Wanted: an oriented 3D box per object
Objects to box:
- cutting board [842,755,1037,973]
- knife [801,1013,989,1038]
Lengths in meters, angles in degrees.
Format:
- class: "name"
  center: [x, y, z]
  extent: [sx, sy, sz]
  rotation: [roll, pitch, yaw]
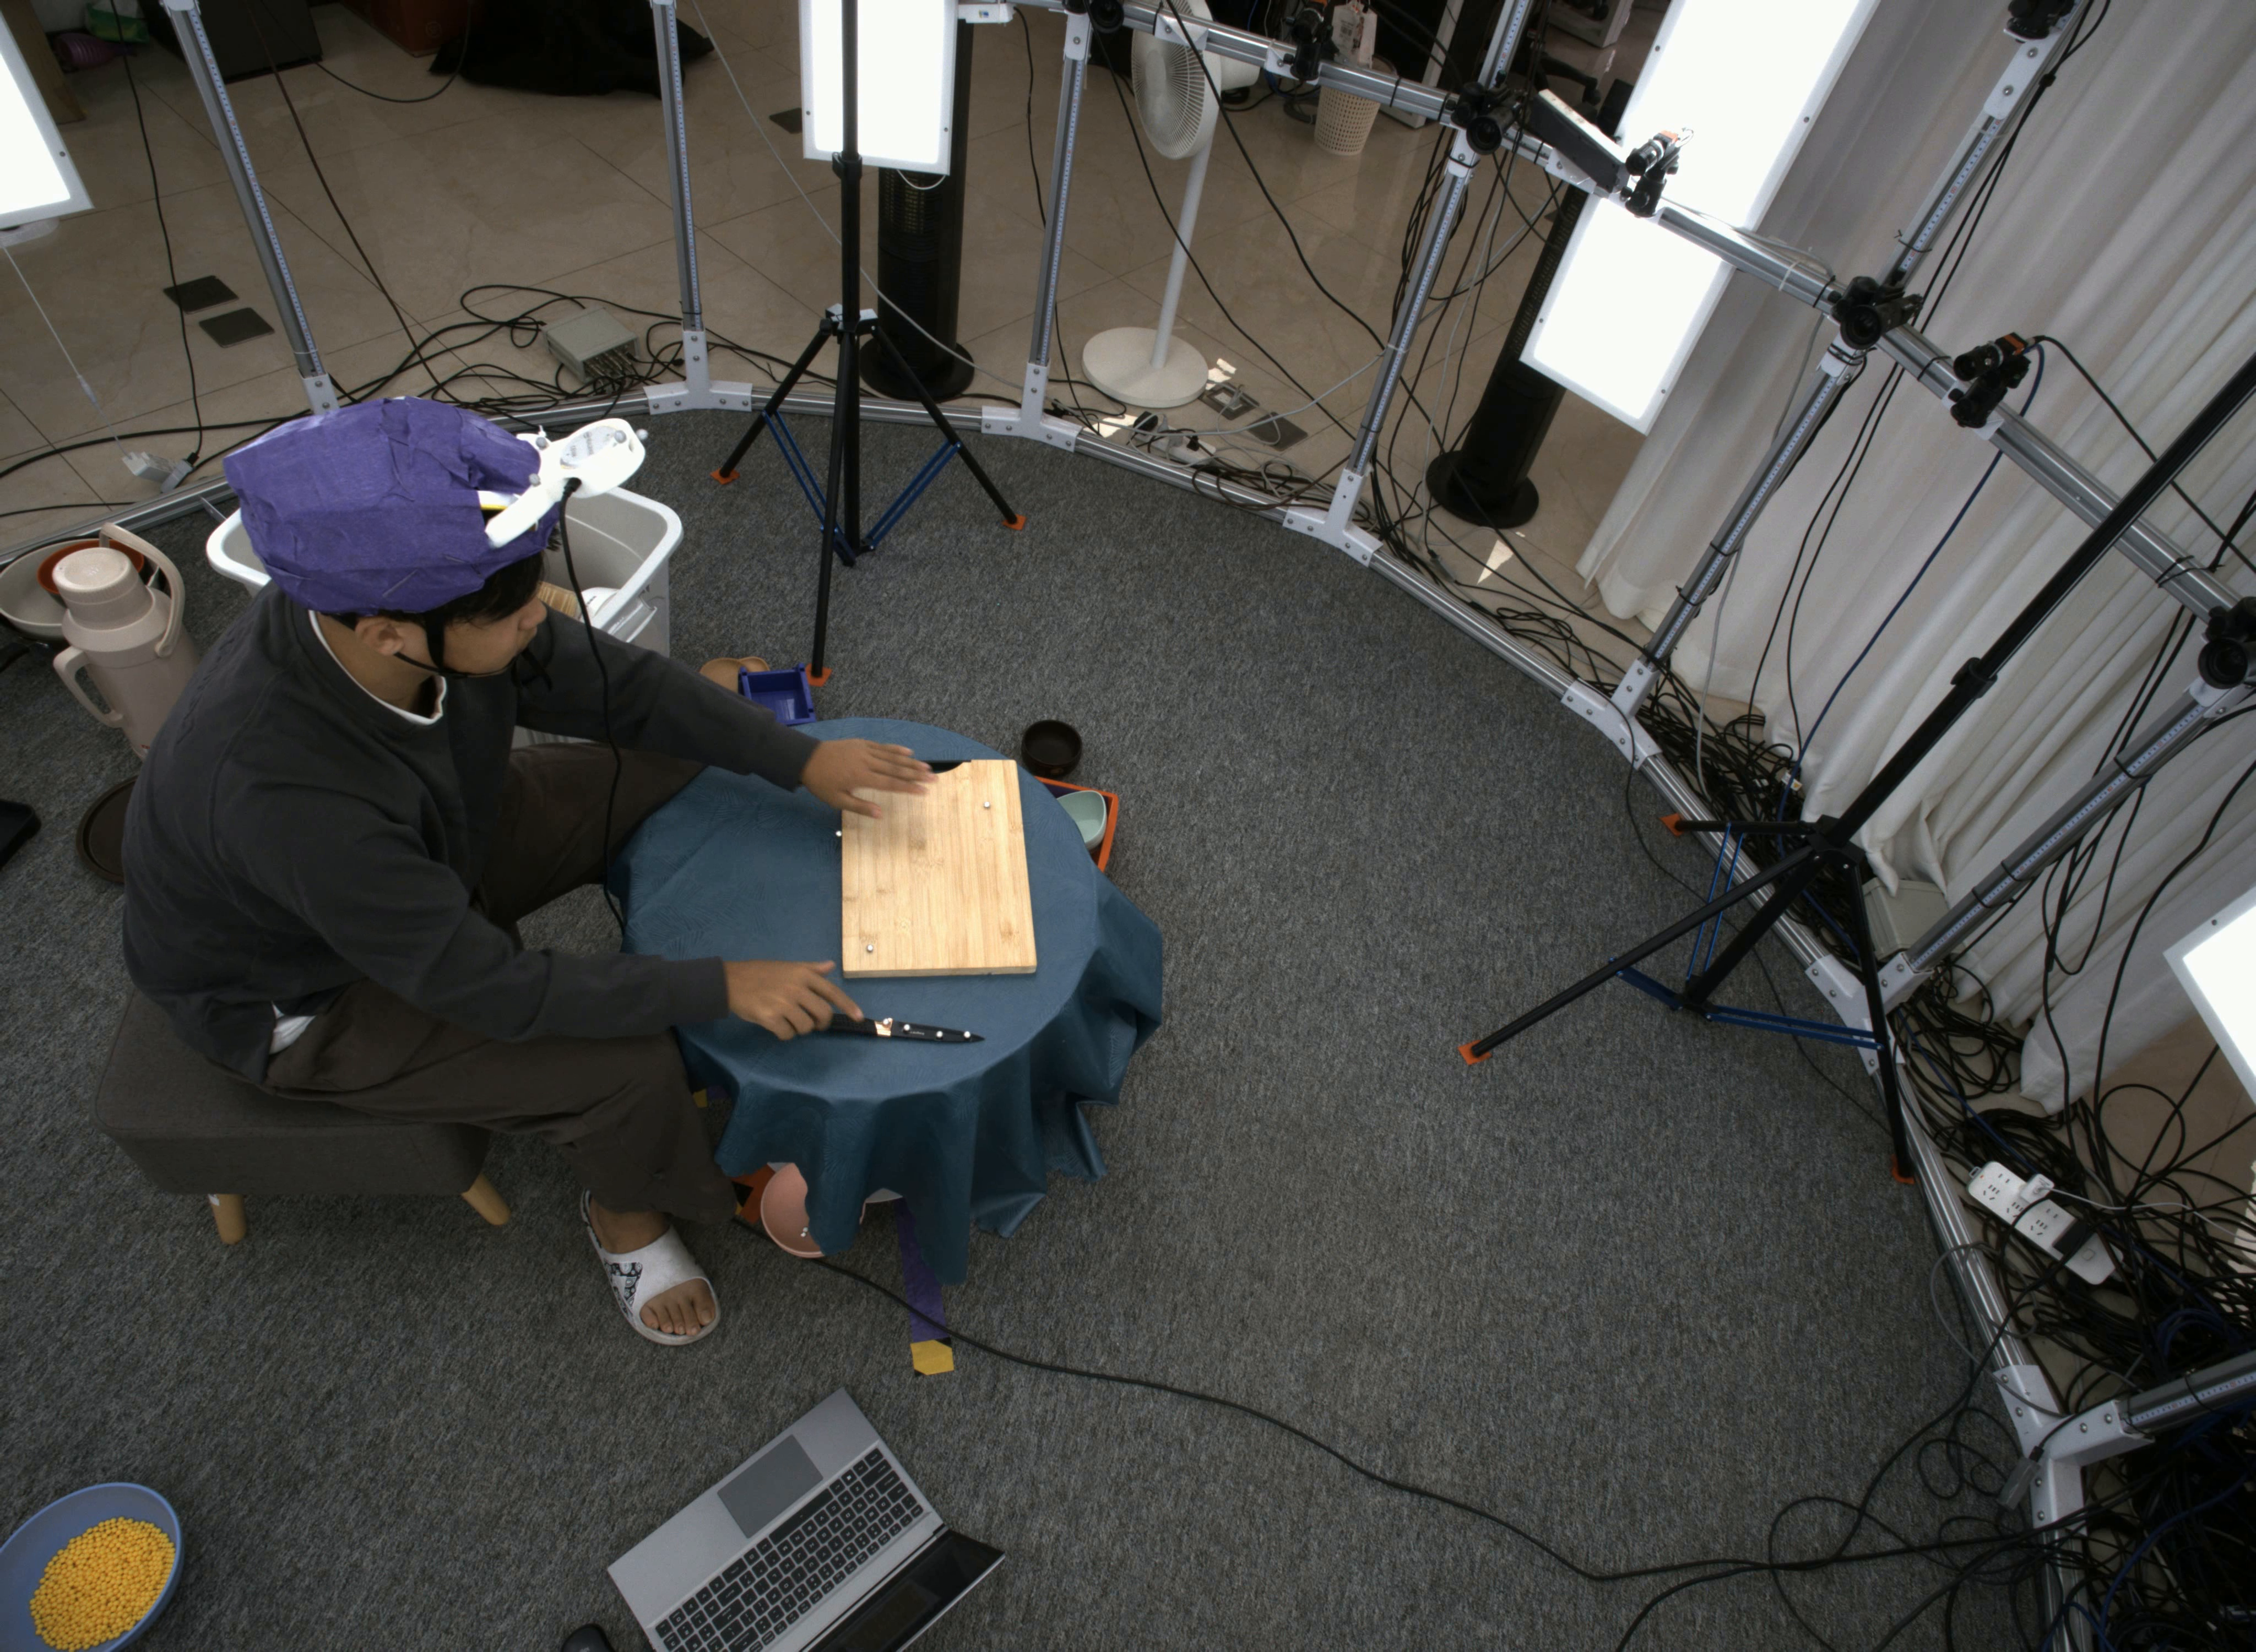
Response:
- class: "cutting board"
  center: [-0.253, 0.043, 1.720]
  extent: [0.251, 0.024, 0.341]
  rotation: [0, 54, -15]
- class: "knife"
  center: [-0.280, 0.241, 1.569]
  extent: [0.225, 0.017, 0.025]
  rotation: [6, 46, -10]
